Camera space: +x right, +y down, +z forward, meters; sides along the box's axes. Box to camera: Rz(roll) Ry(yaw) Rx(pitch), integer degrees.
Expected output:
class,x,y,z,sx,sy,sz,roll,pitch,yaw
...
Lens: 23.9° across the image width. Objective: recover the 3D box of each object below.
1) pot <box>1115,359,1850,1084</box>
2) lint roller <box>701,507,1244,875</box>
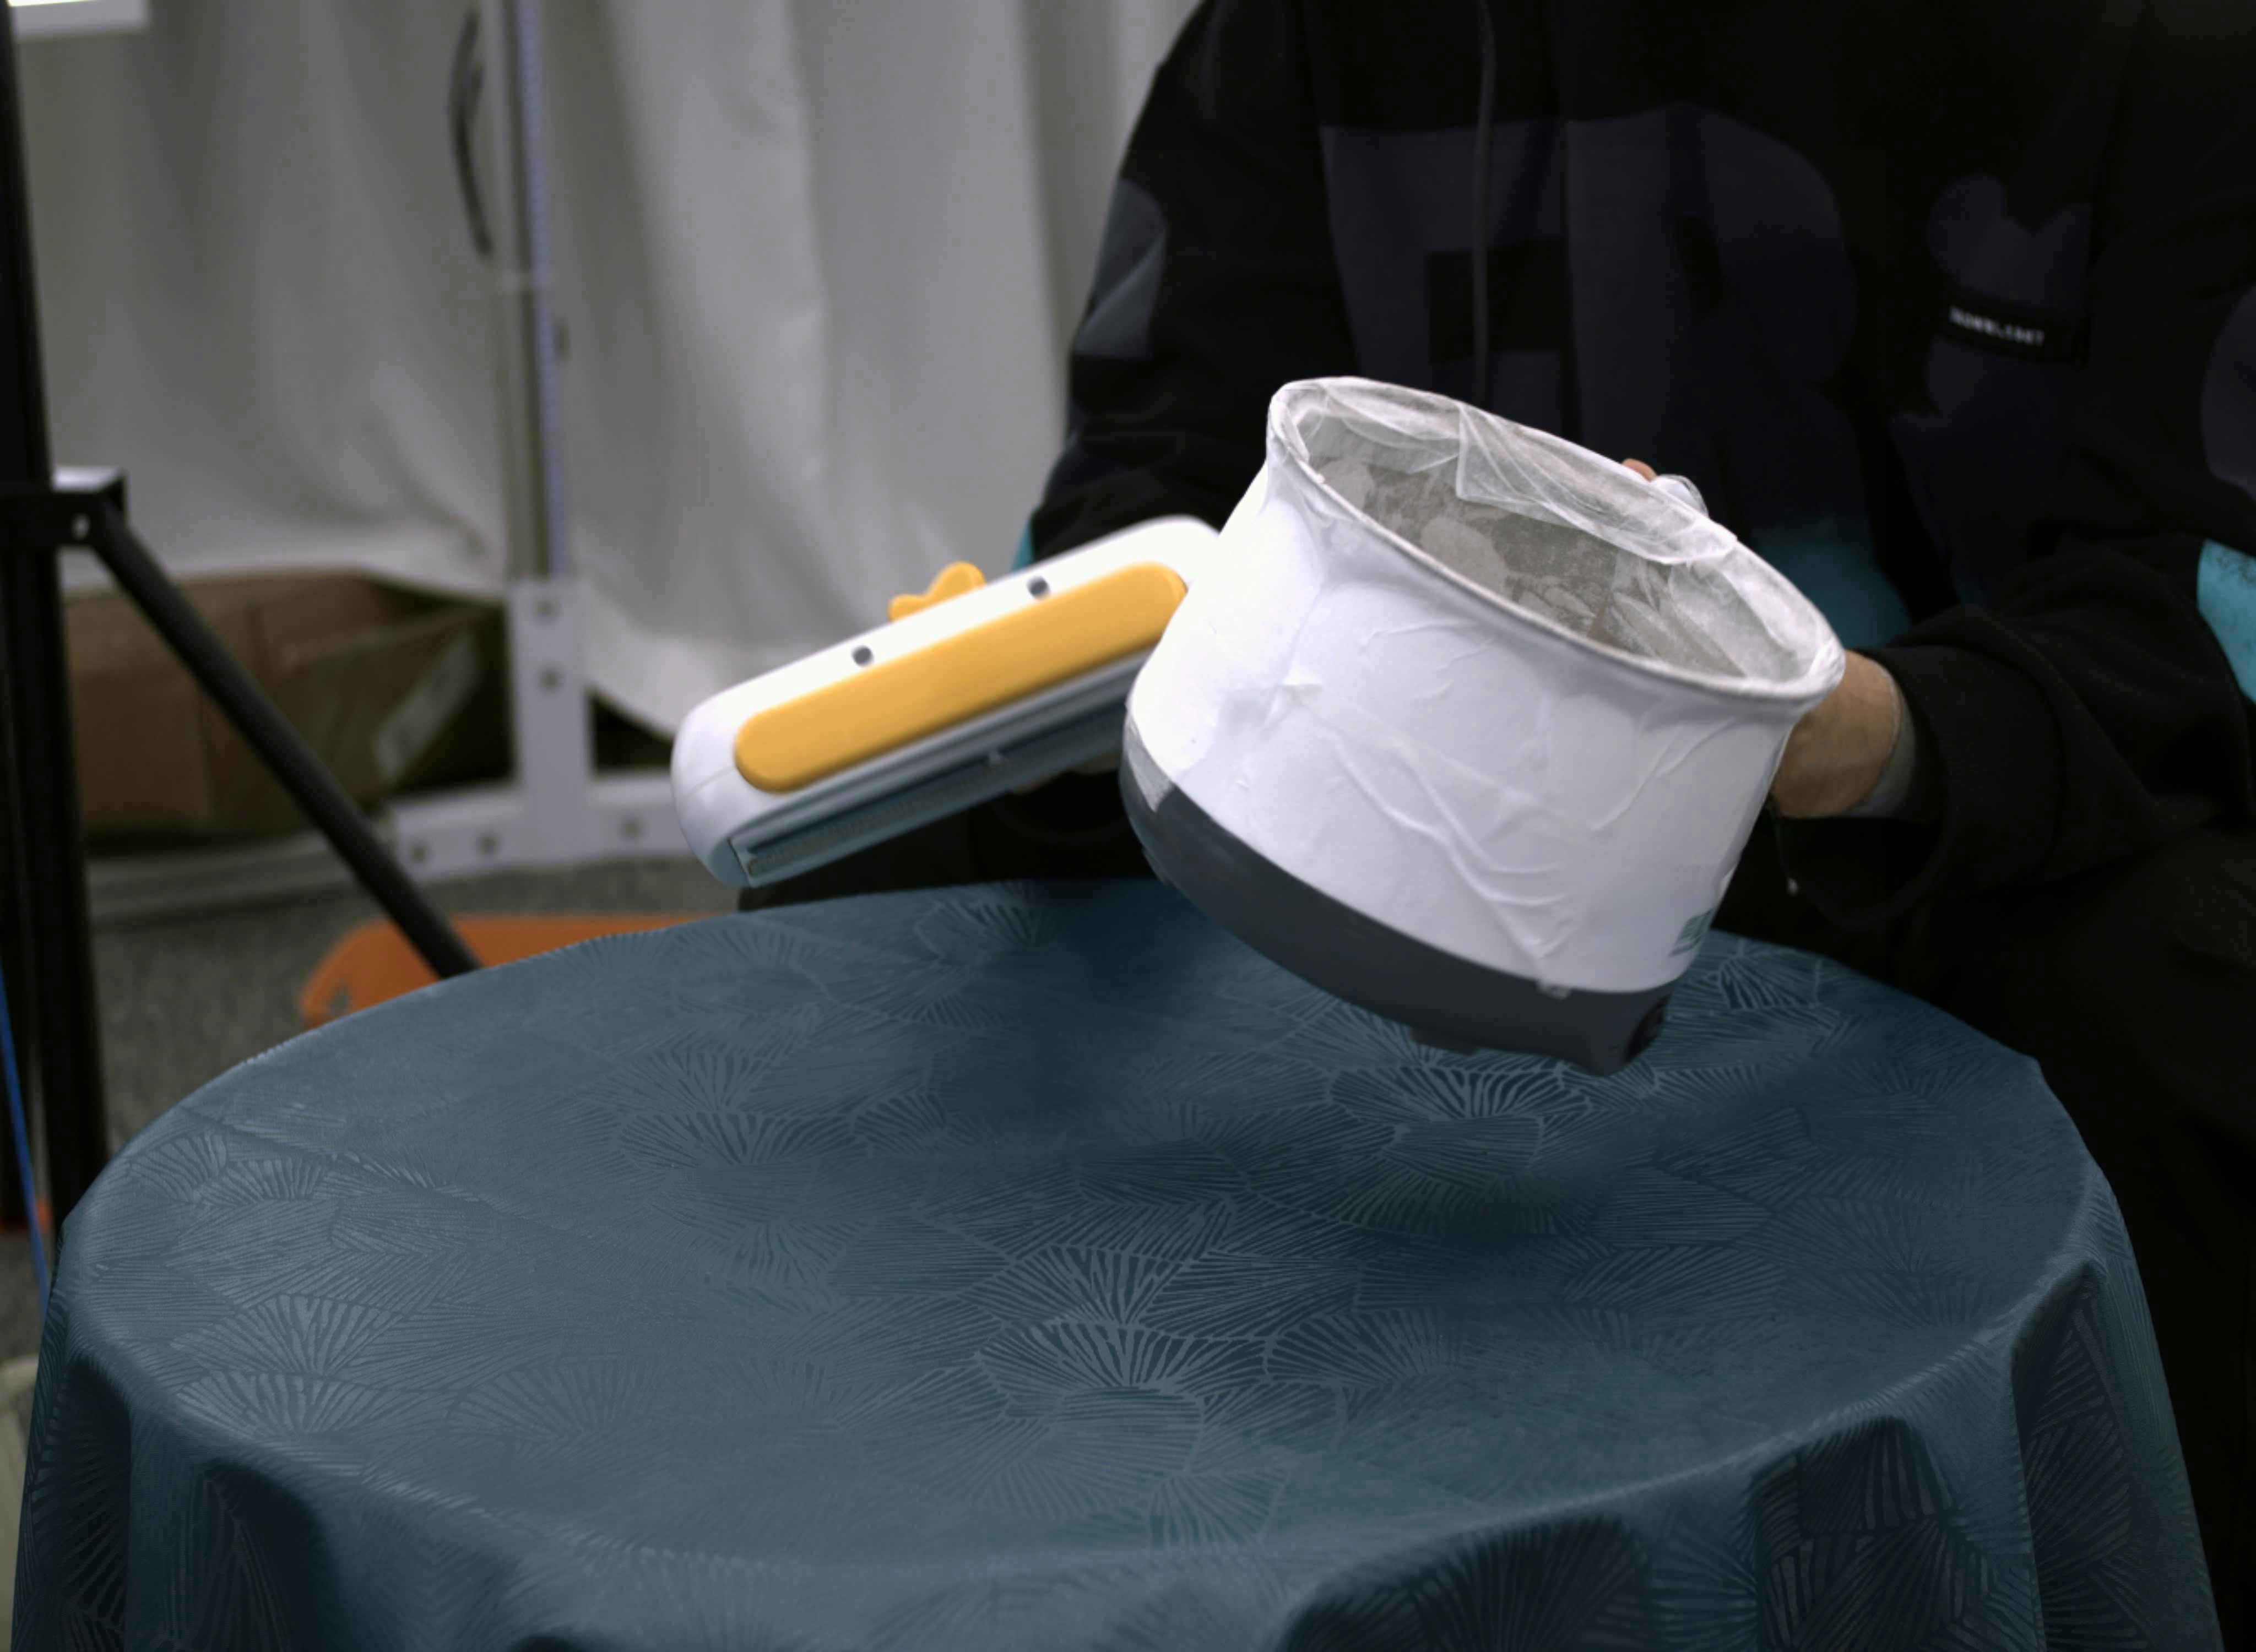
class,x,y,z,sx,sy,sz,roll,pitch,yaw
pot,0.106,-0.035,1.518,0.181,0.137,0.230,35,24,16
lint roller,-0.044,-0.034,1.693,0.191,0.075,0.192,-24,-10,-5
